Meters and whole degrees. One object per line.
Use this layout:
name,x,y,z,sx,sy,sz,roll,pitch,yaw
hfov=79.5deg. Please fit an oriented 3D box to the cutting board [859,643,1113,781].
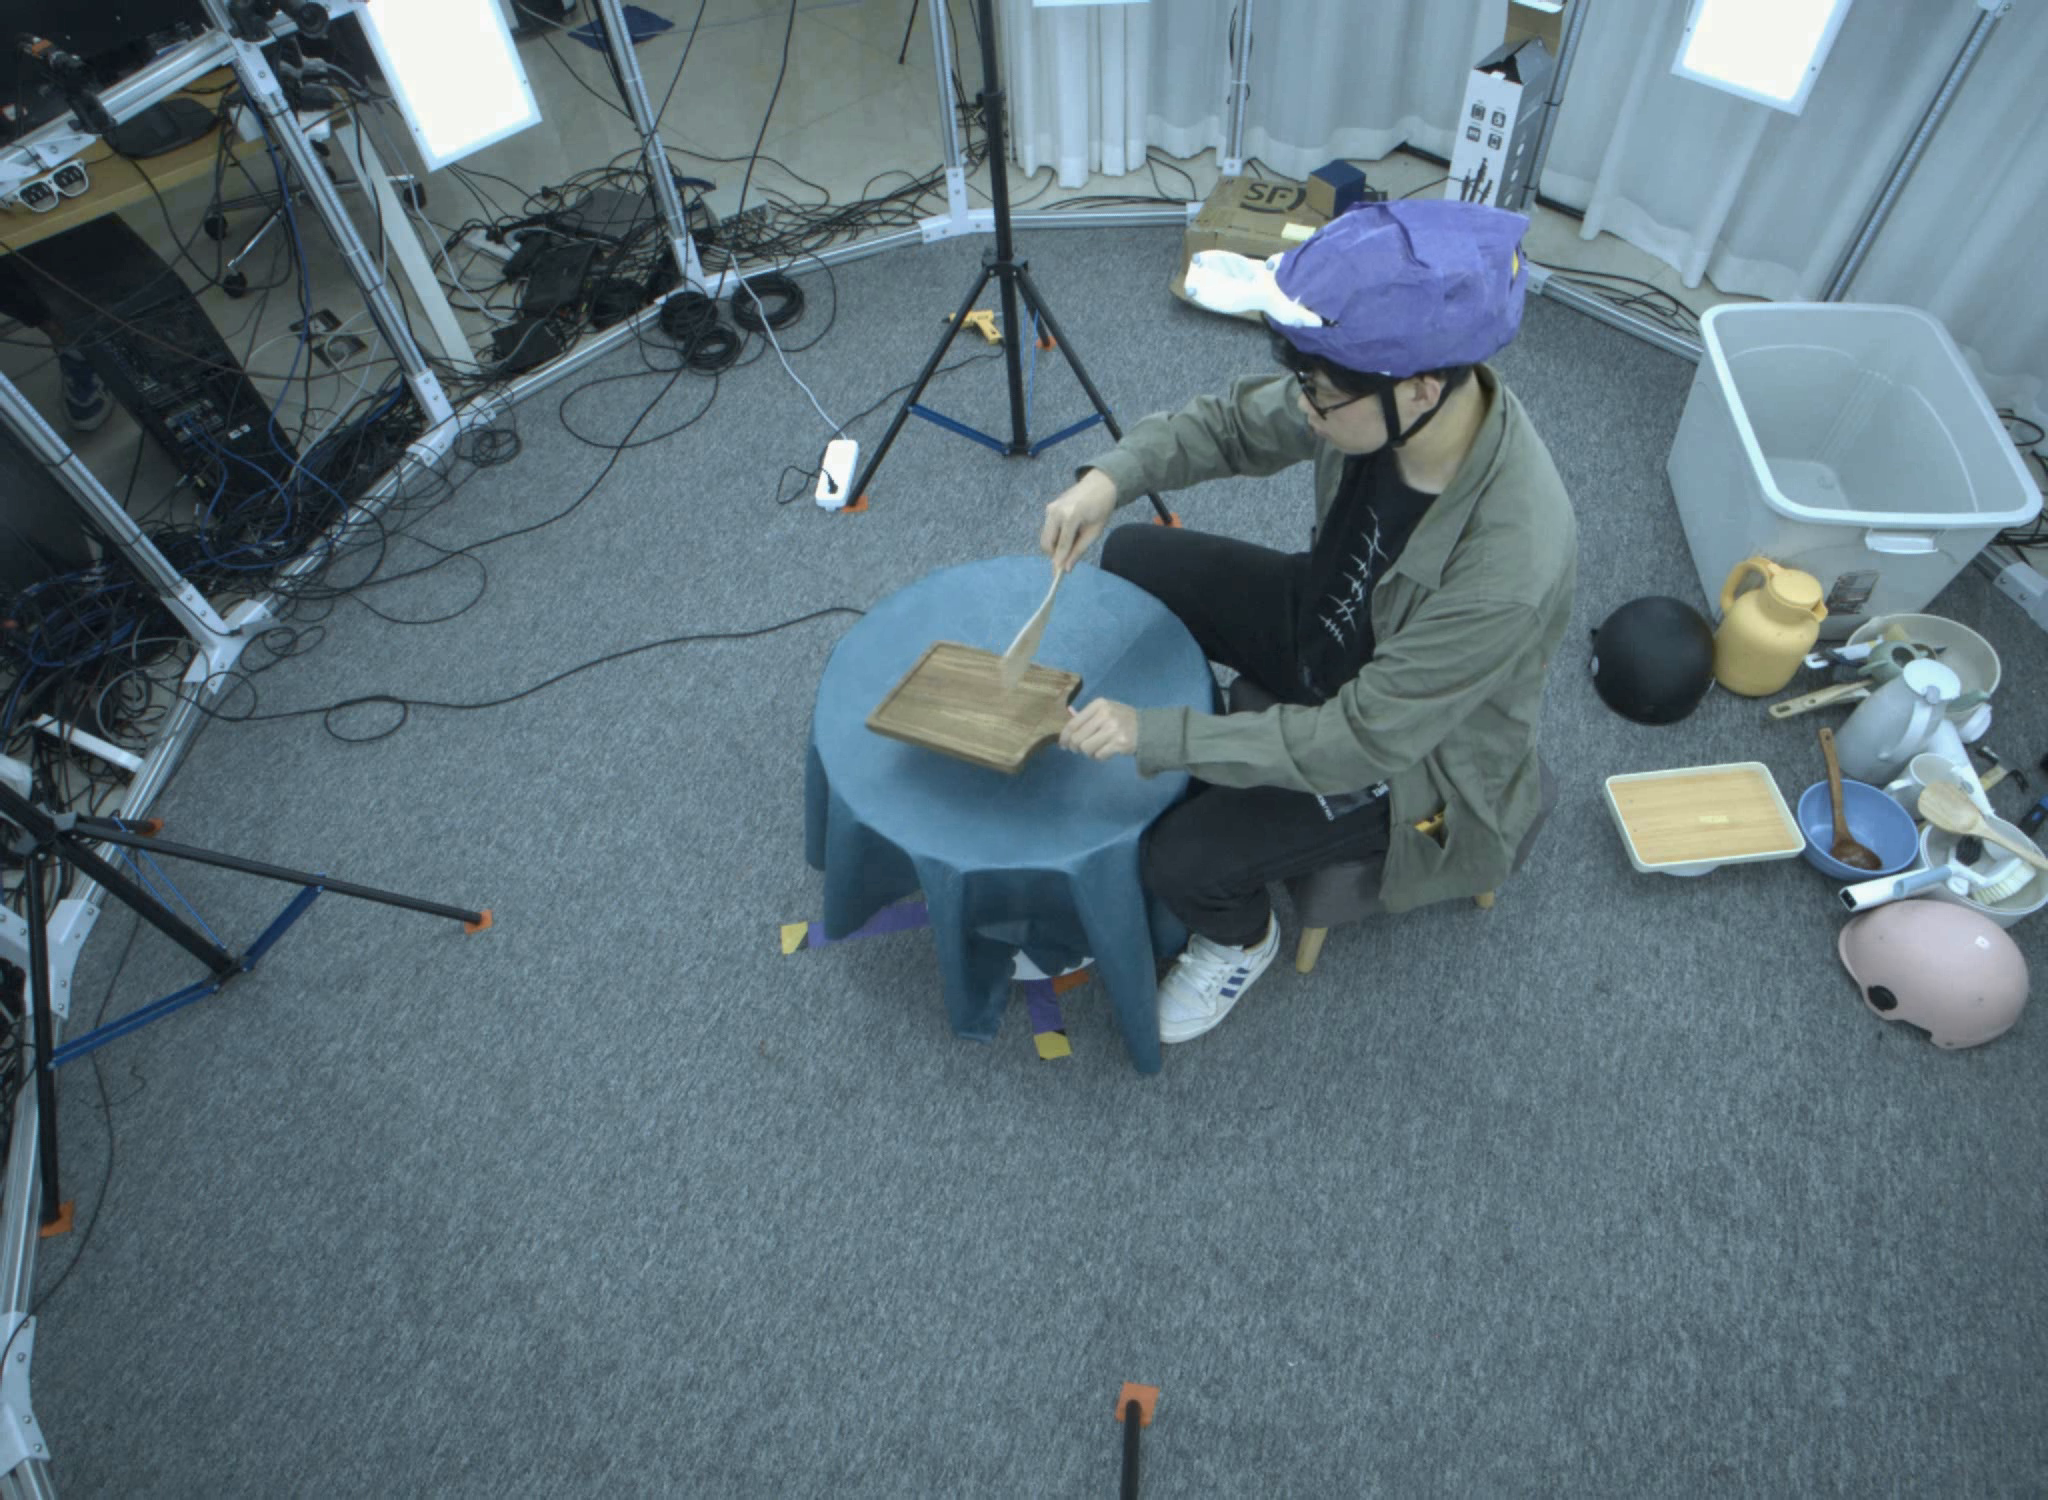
cutting board,-0.036,-0.046,1.700,0.346,0.023,0.202,18,50,24

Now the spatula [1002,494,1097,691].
spatula,0.037,-0.230,1.696,0.016,0.081,0.327,16,66,17
